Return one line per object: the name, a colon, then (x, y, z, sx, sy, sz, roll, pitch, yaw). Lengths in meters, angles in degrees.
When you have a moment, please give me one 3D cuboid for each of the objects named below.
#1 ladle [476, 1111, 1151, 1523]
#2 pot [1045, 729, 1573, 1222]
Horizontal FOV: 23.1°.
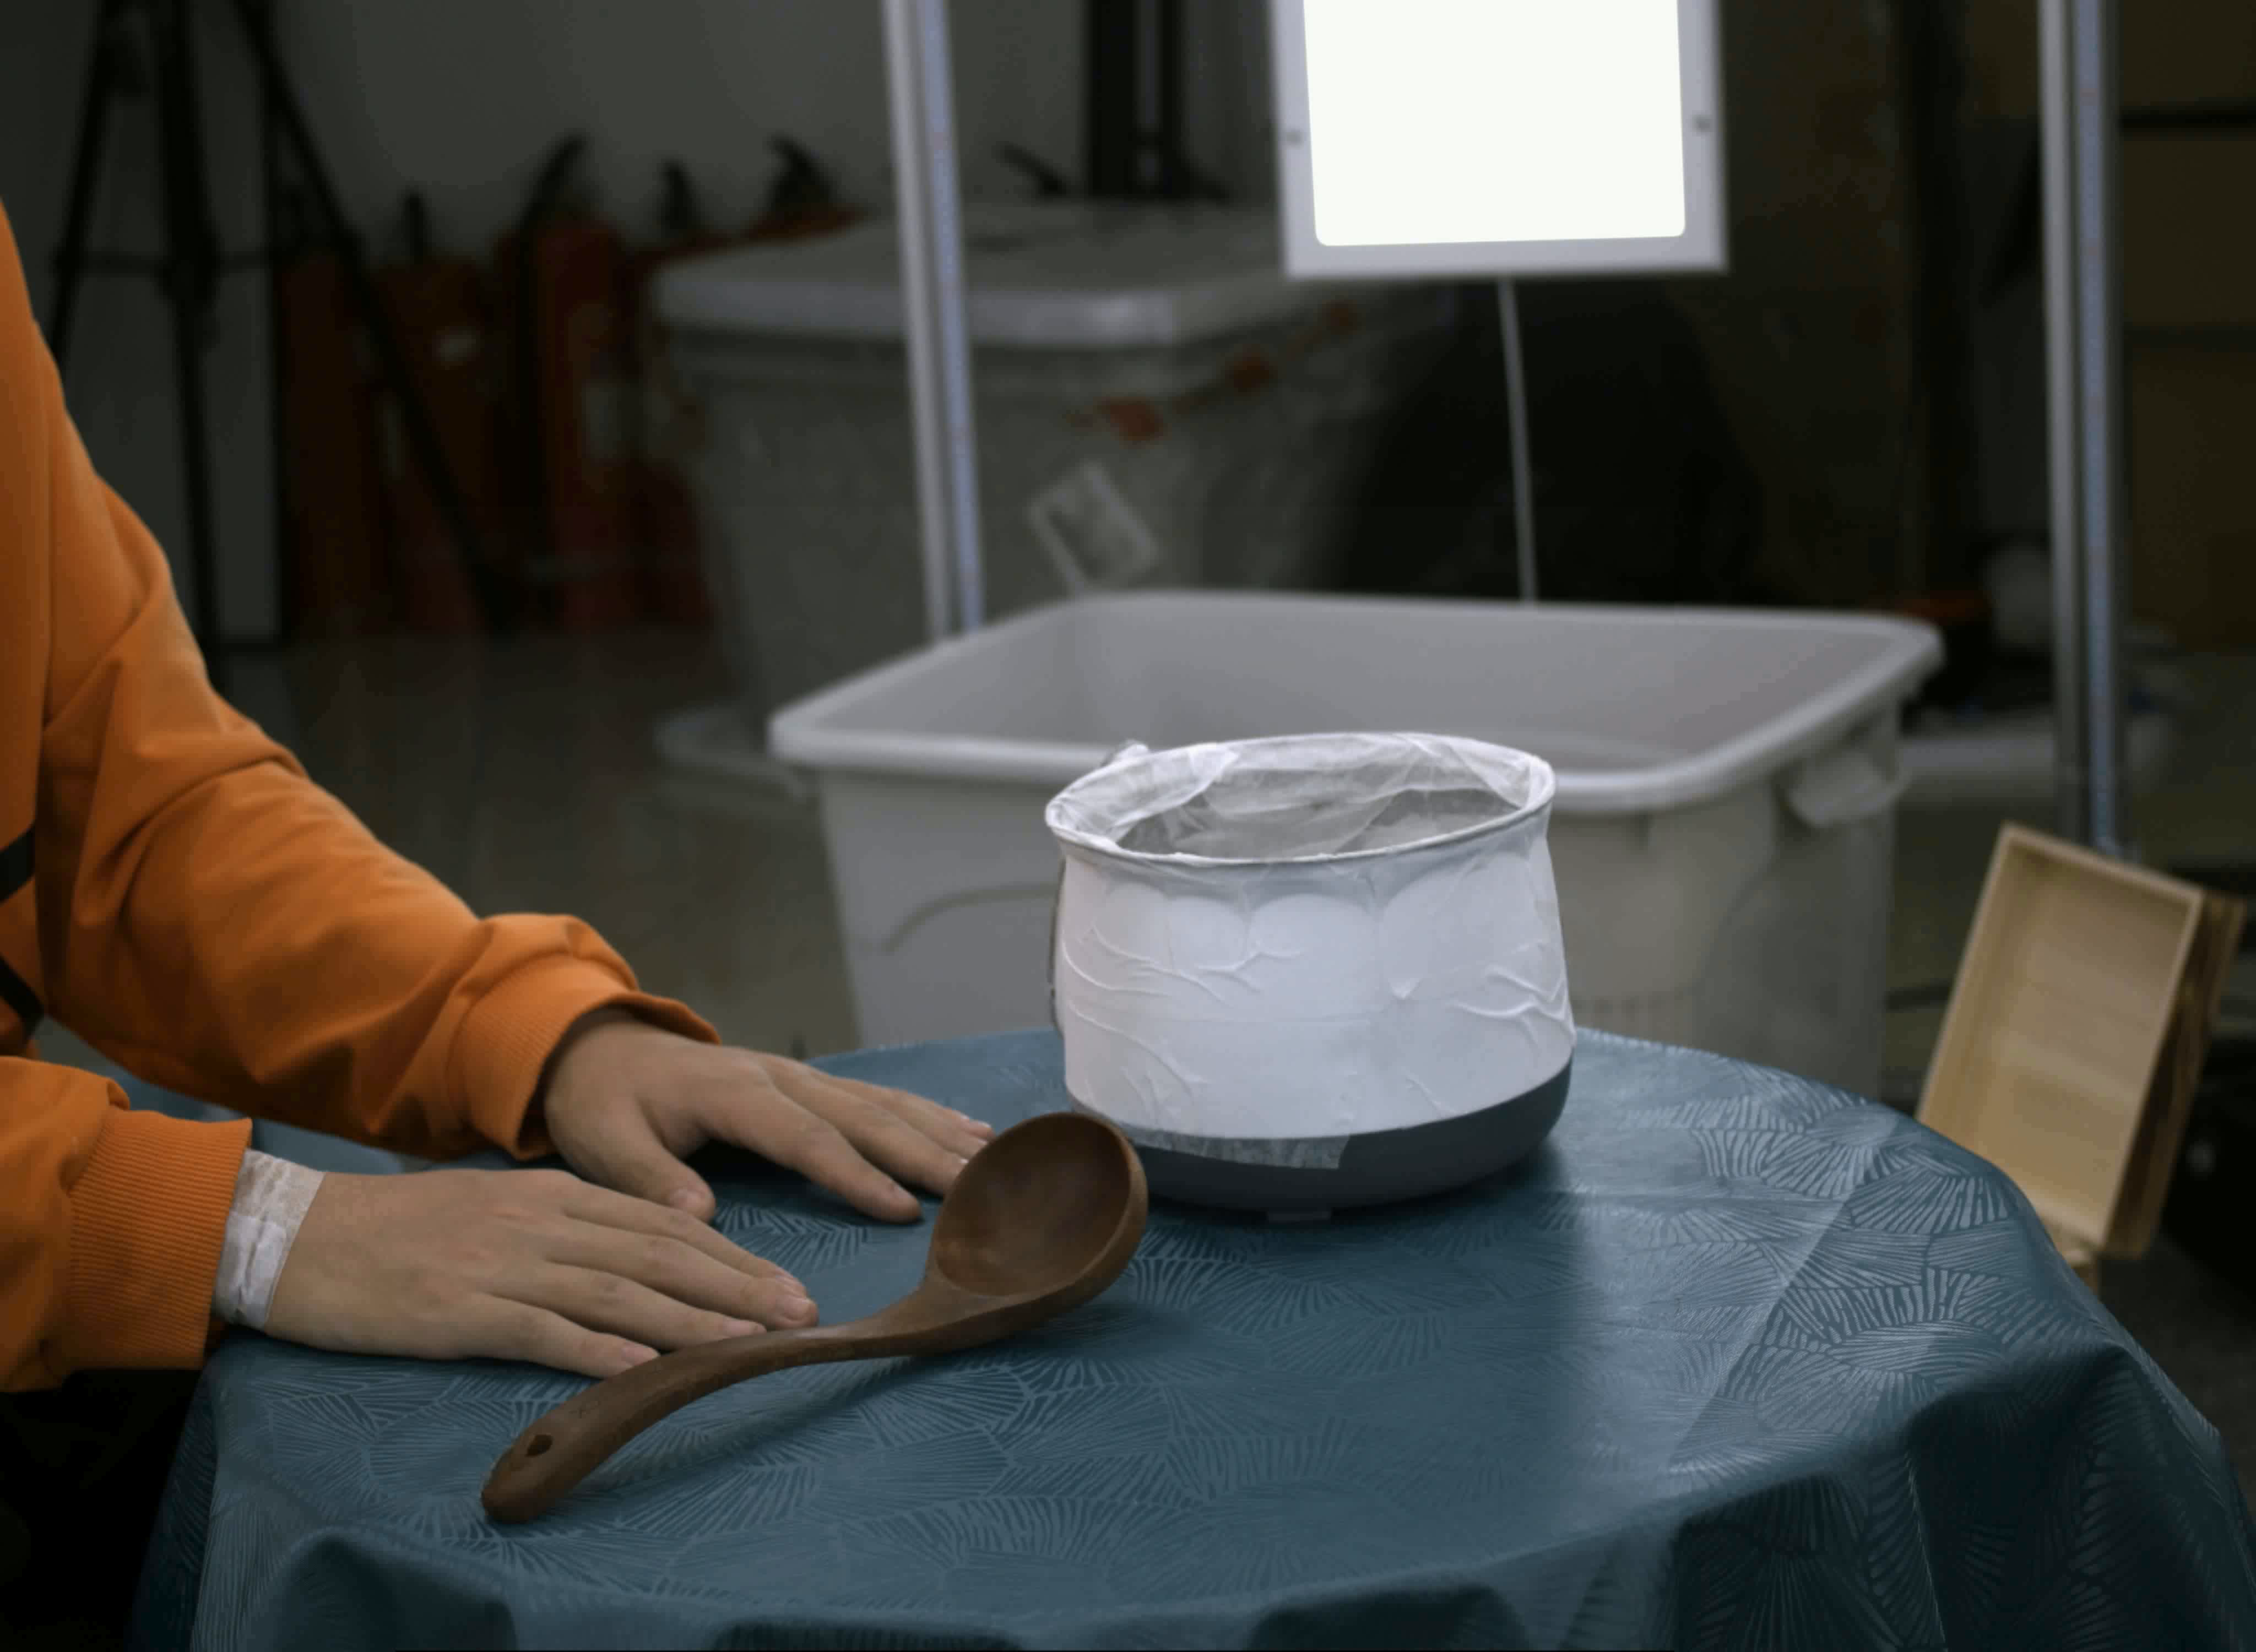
ladle: (-0.098, 0.149, 1.709, 0.253, 0.065, 0.078, -16, 19, -39)
pot: (0.047, 0.046, 1.919, 0.174, 0.137, 0.238, -14, 17, -34)
